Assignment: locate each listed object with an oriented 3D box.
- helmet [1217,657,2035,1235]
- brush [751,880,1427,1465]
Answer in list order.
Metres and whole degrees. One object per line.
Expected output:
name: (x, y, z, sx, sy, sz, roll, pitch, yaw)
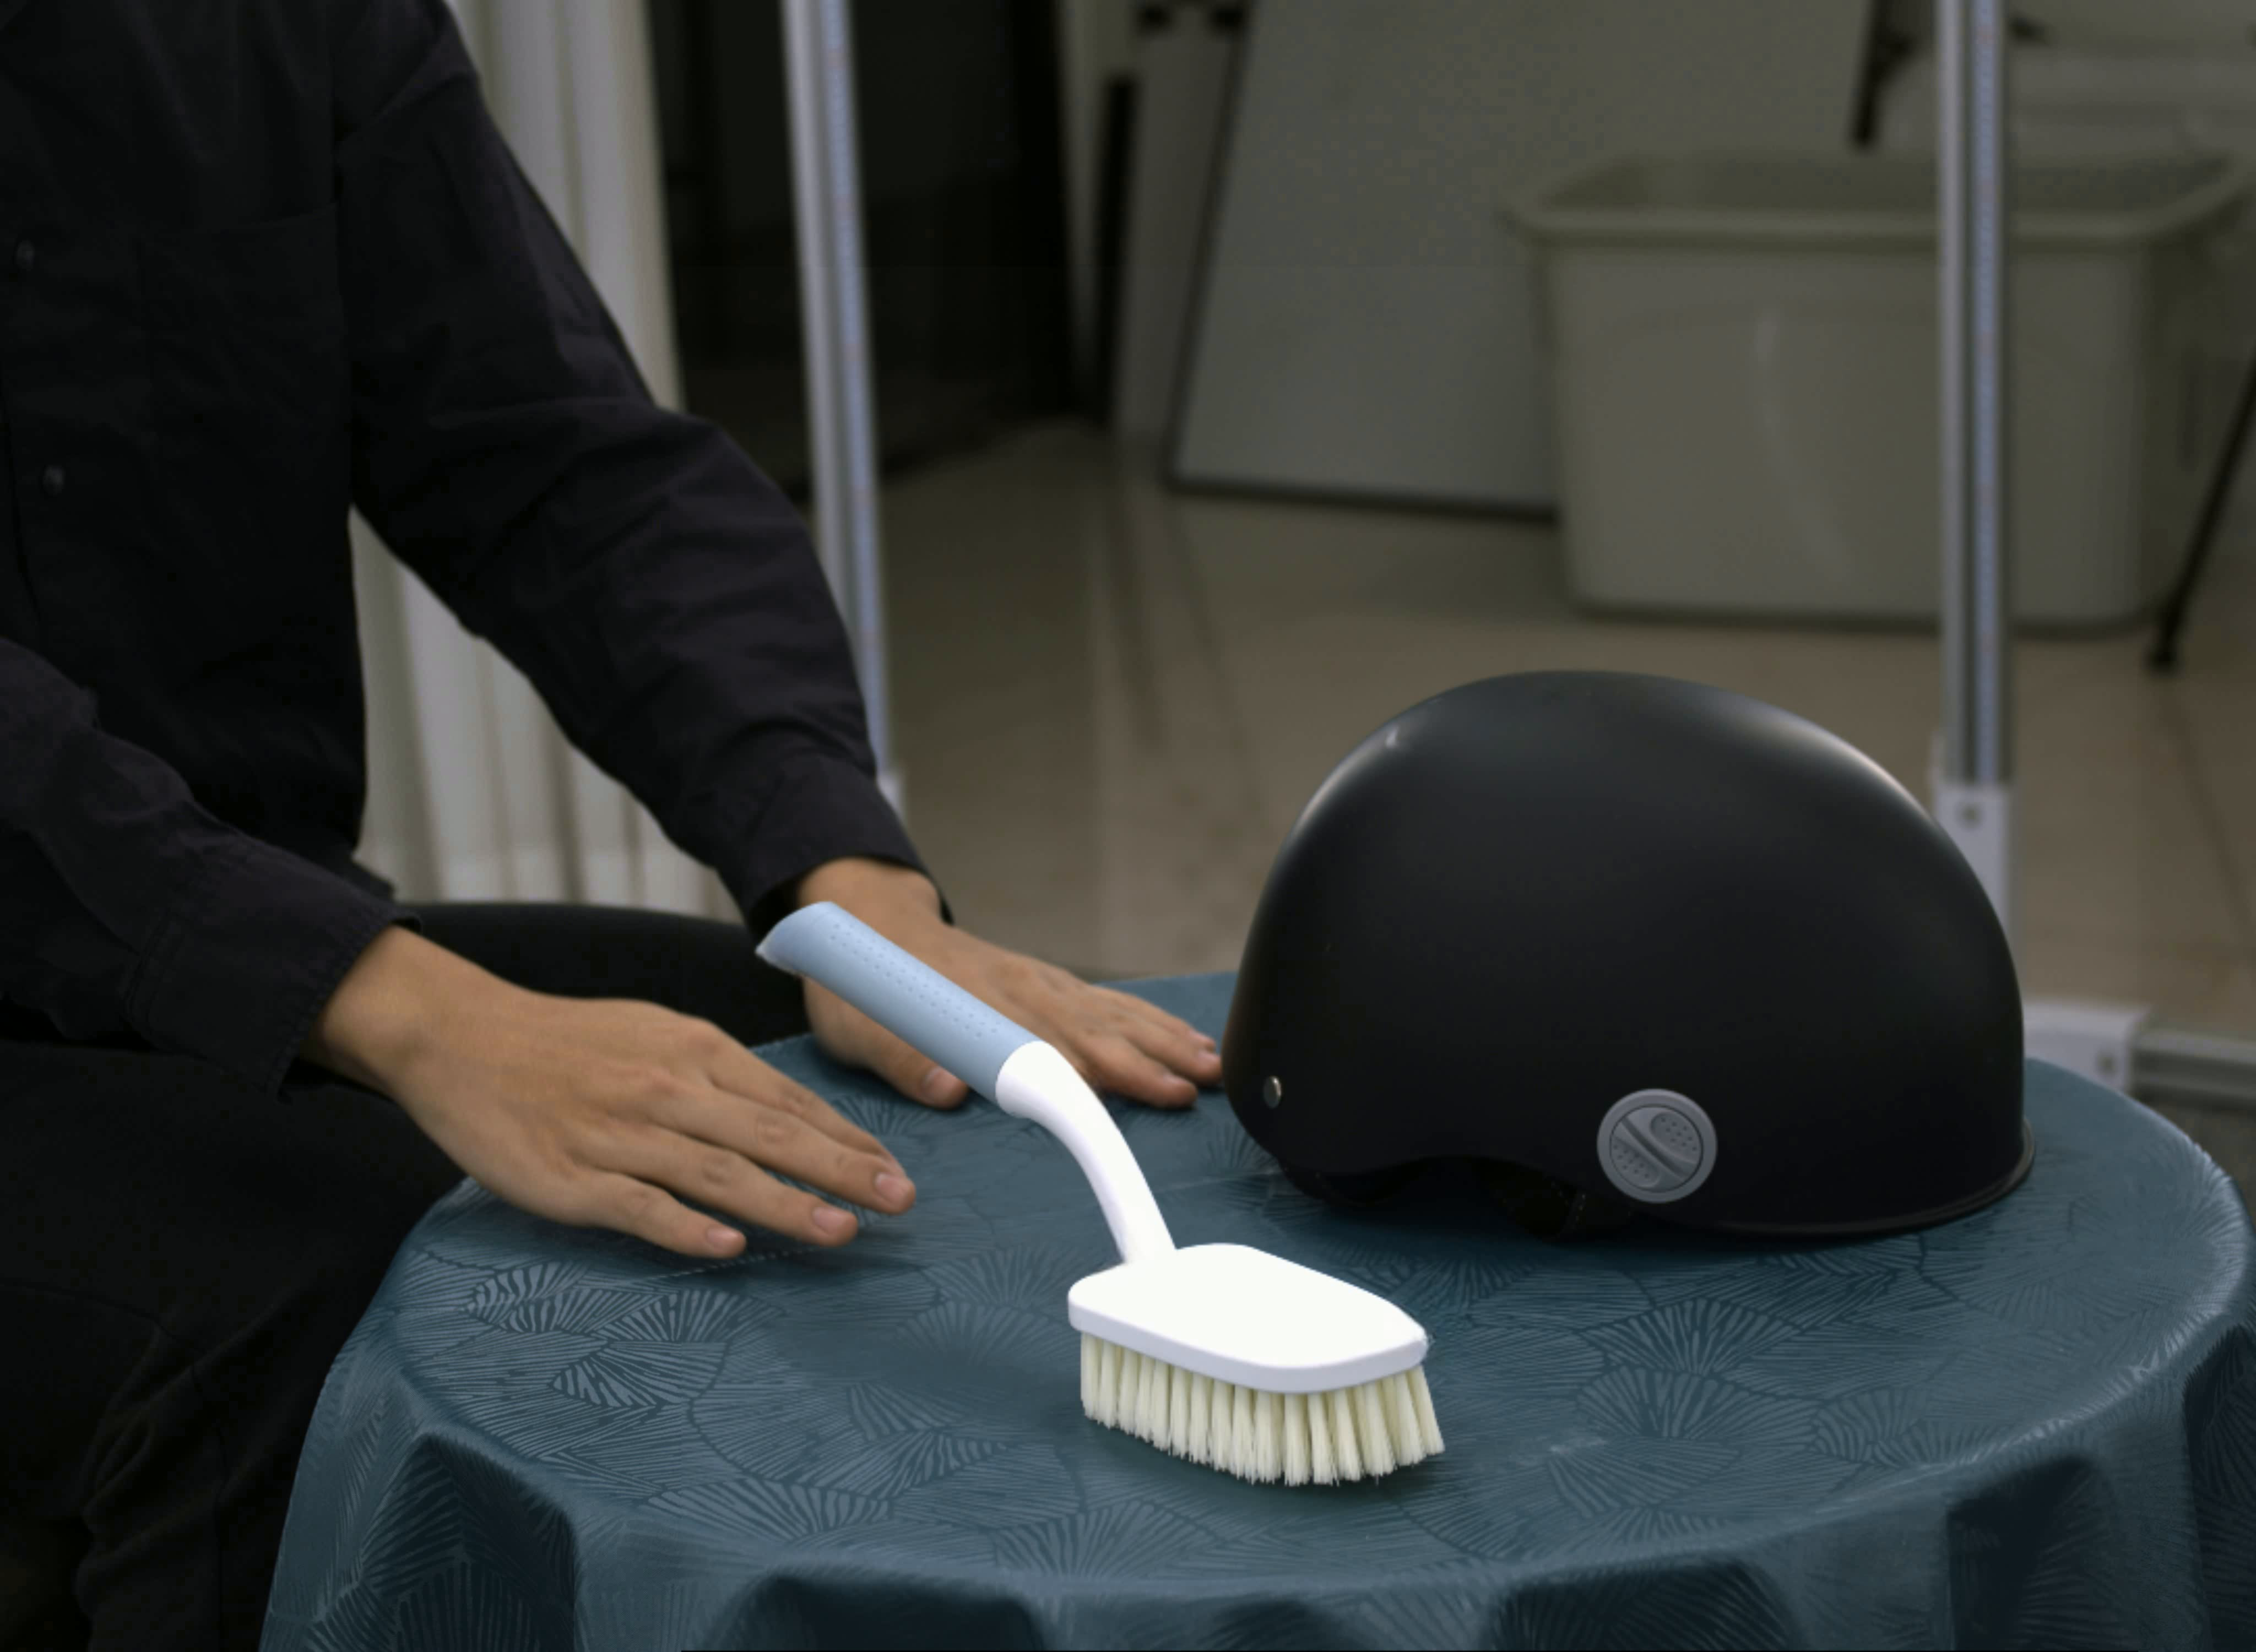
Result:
helmet: (0.162, 0.032, 1.759, 0.273, 0.168, 0.227, 5, 19, 23)
brush: (-0.017, 0.116, 1.619, 0.082, 0.085, 0.329, 34, -1, -43)
